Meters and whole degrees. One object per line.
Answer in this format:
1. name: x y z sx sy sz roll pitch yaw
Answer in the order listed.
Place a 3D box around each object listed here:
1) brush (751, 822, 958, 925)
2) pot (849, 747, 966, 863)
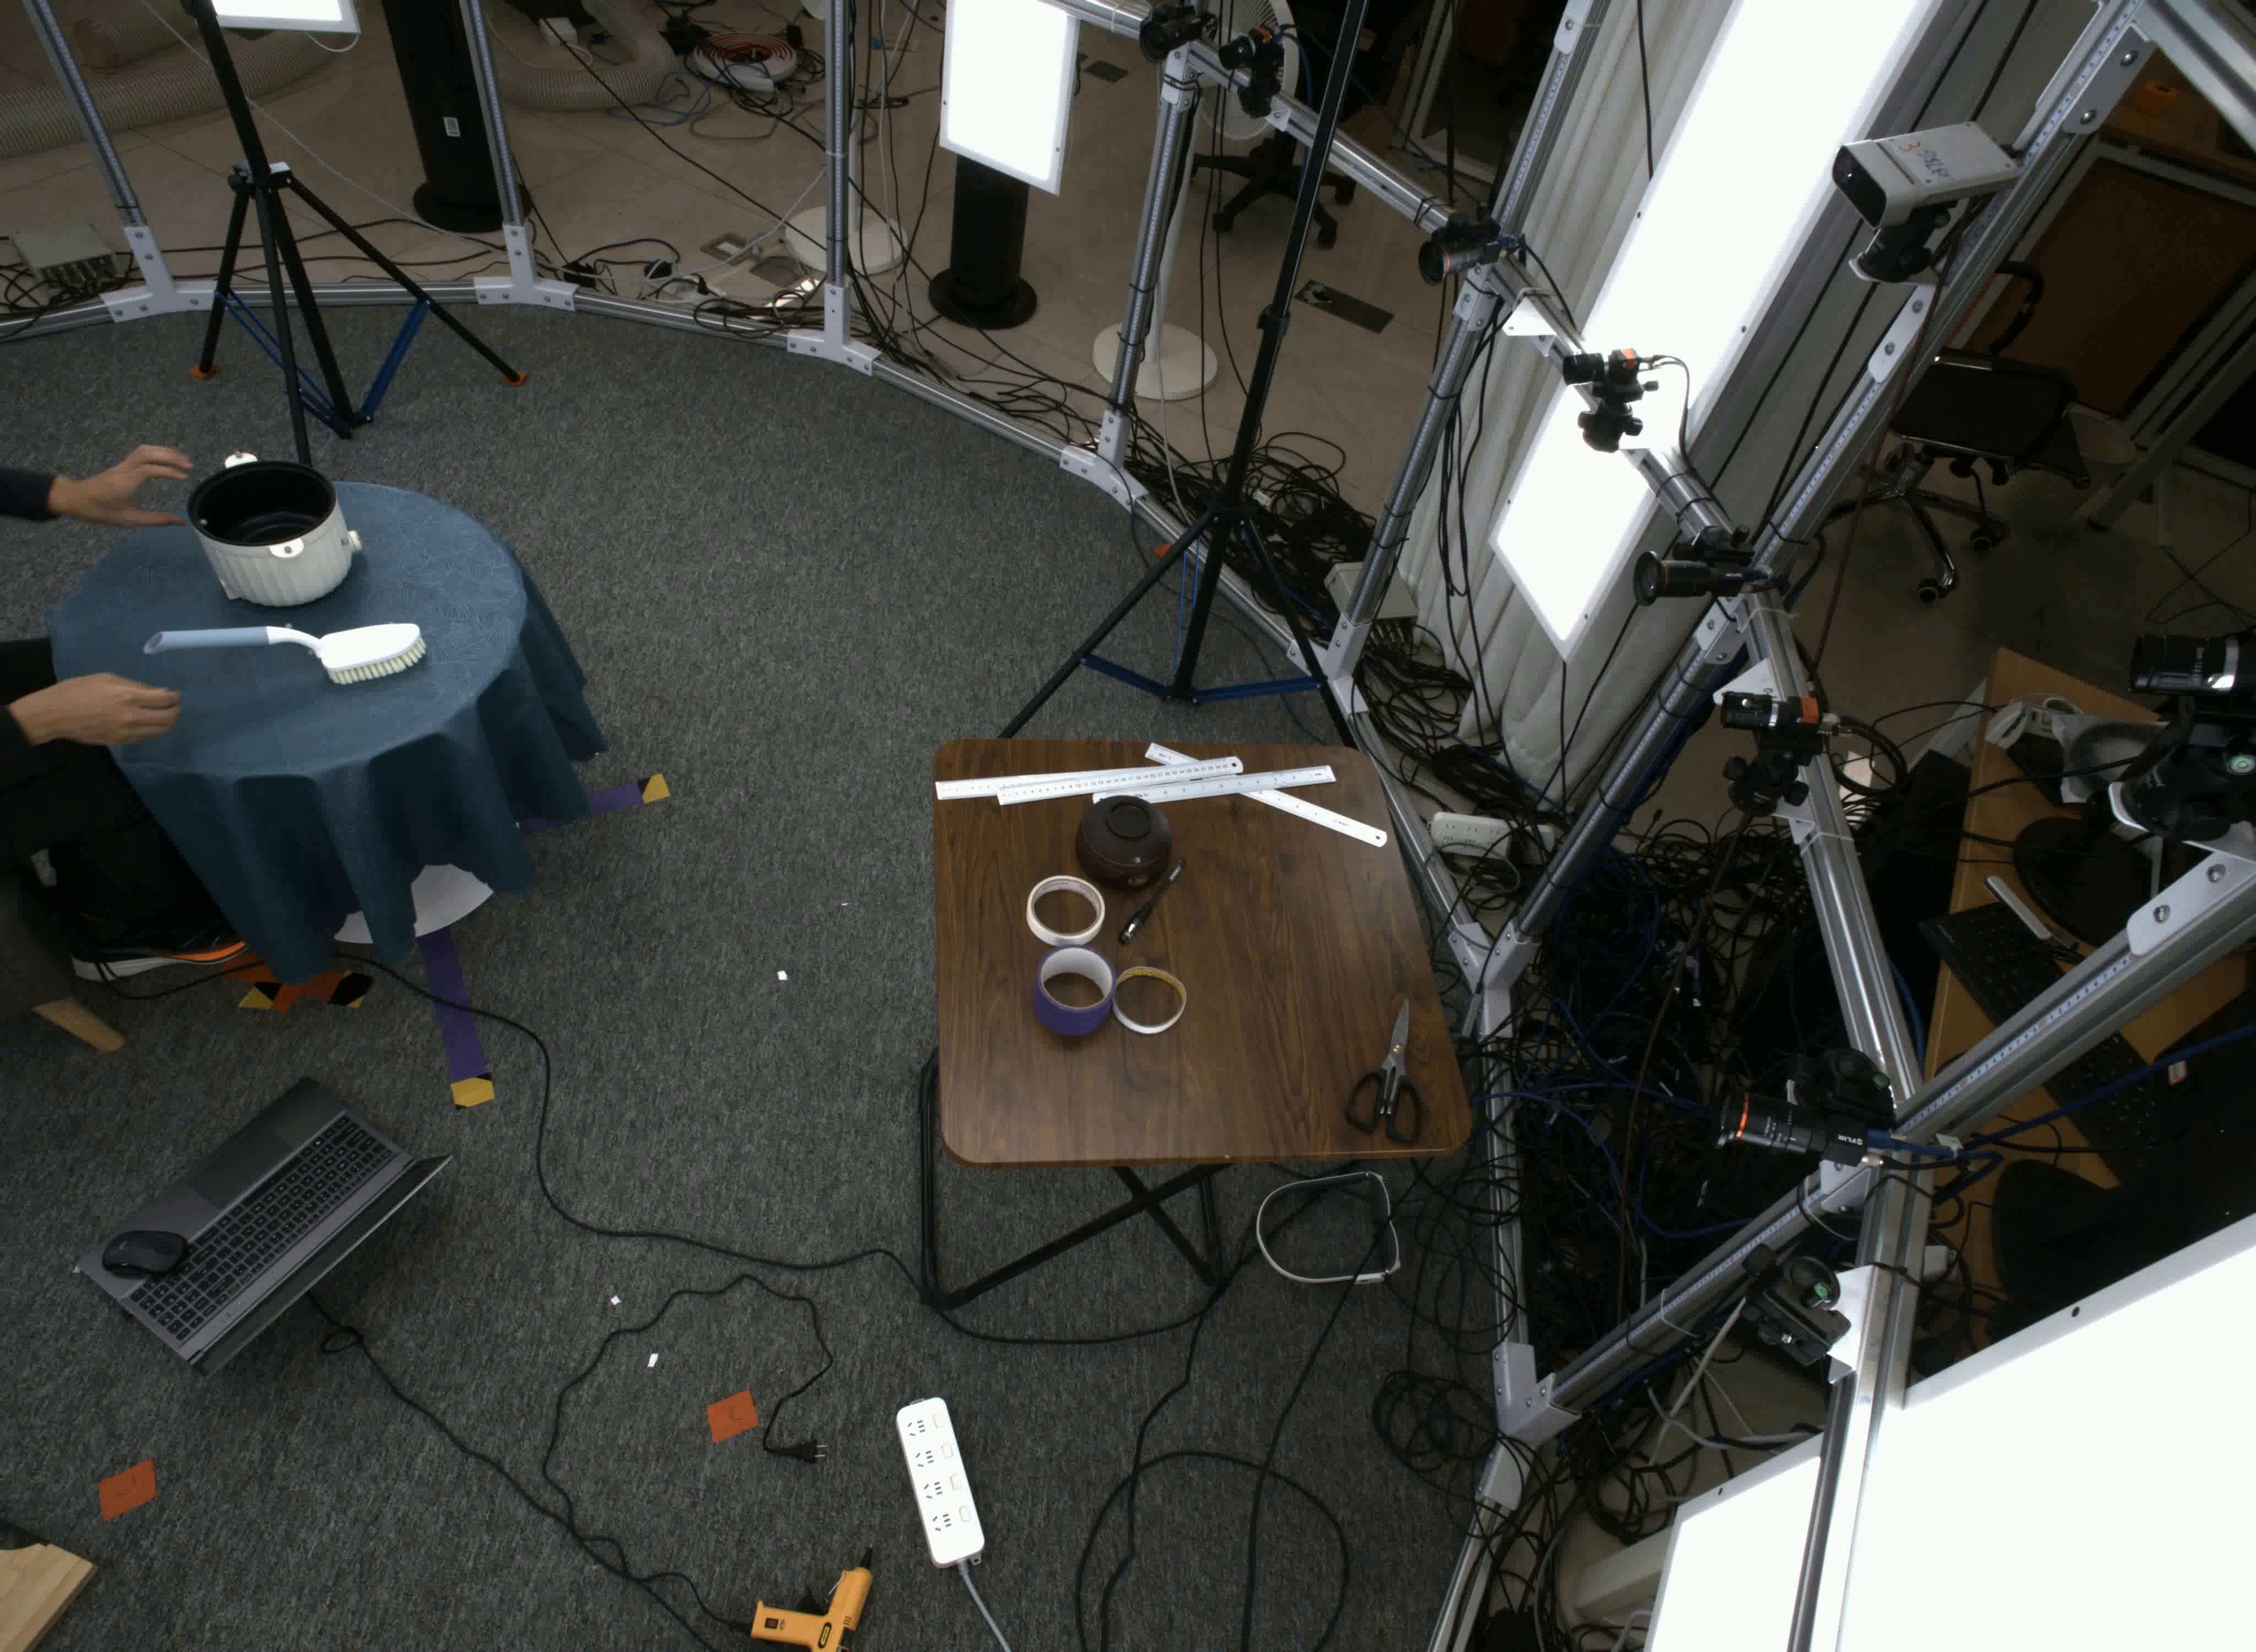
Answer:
1. brush: -0.409 0.082 1.938 0.324 0.085 0.083 18 -12 -5
2. pot: -0.359 -0.029 2.127 0.190 0.147 0.234 1 25 -8
